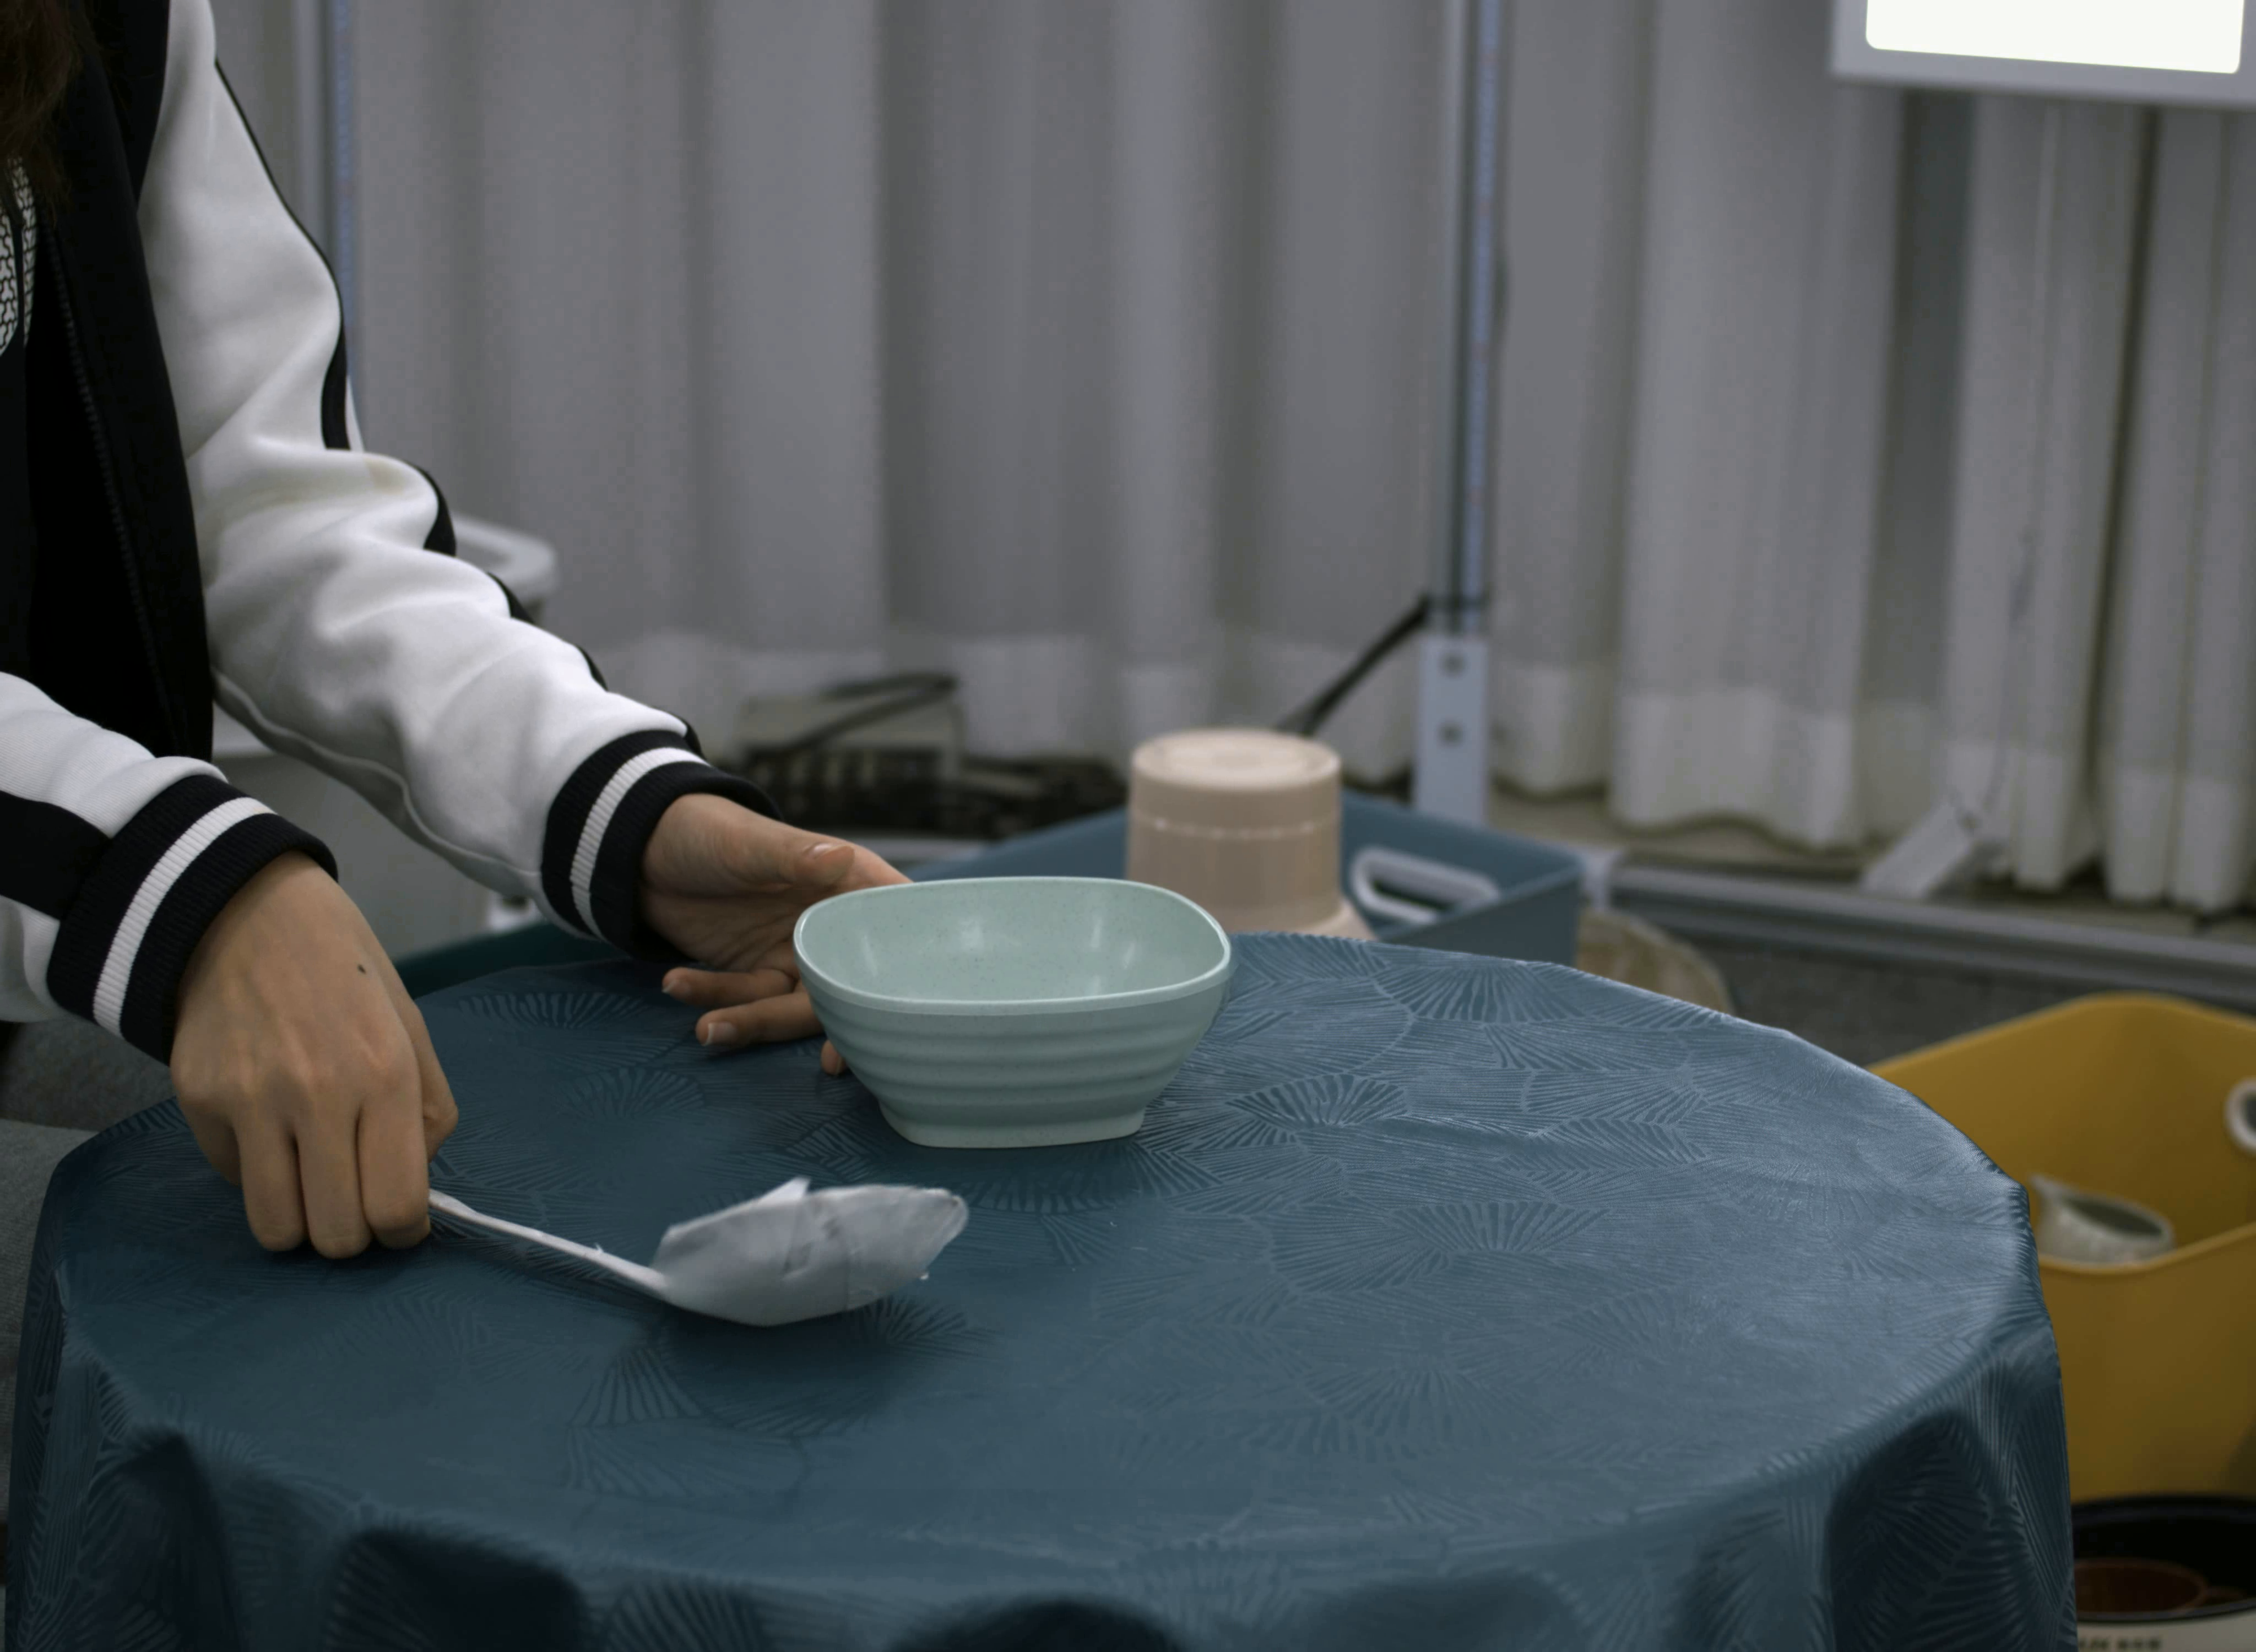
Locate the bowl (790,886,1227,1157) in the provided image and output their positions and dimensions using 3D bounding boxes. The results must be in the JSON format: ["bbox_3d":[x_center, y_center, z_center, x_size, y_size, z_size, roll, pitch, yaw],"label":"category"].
[{"bbox_3d":[-0.038,0.066,1.692,0.151,0.059,0.150,1,15,0],"label":"bowl"}]

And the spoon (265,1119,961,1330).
[{"bbox_3d":[-0.160,0.099,1.555,0.273,0.059,0.102,17,0,43],"label":"spoon"}]
